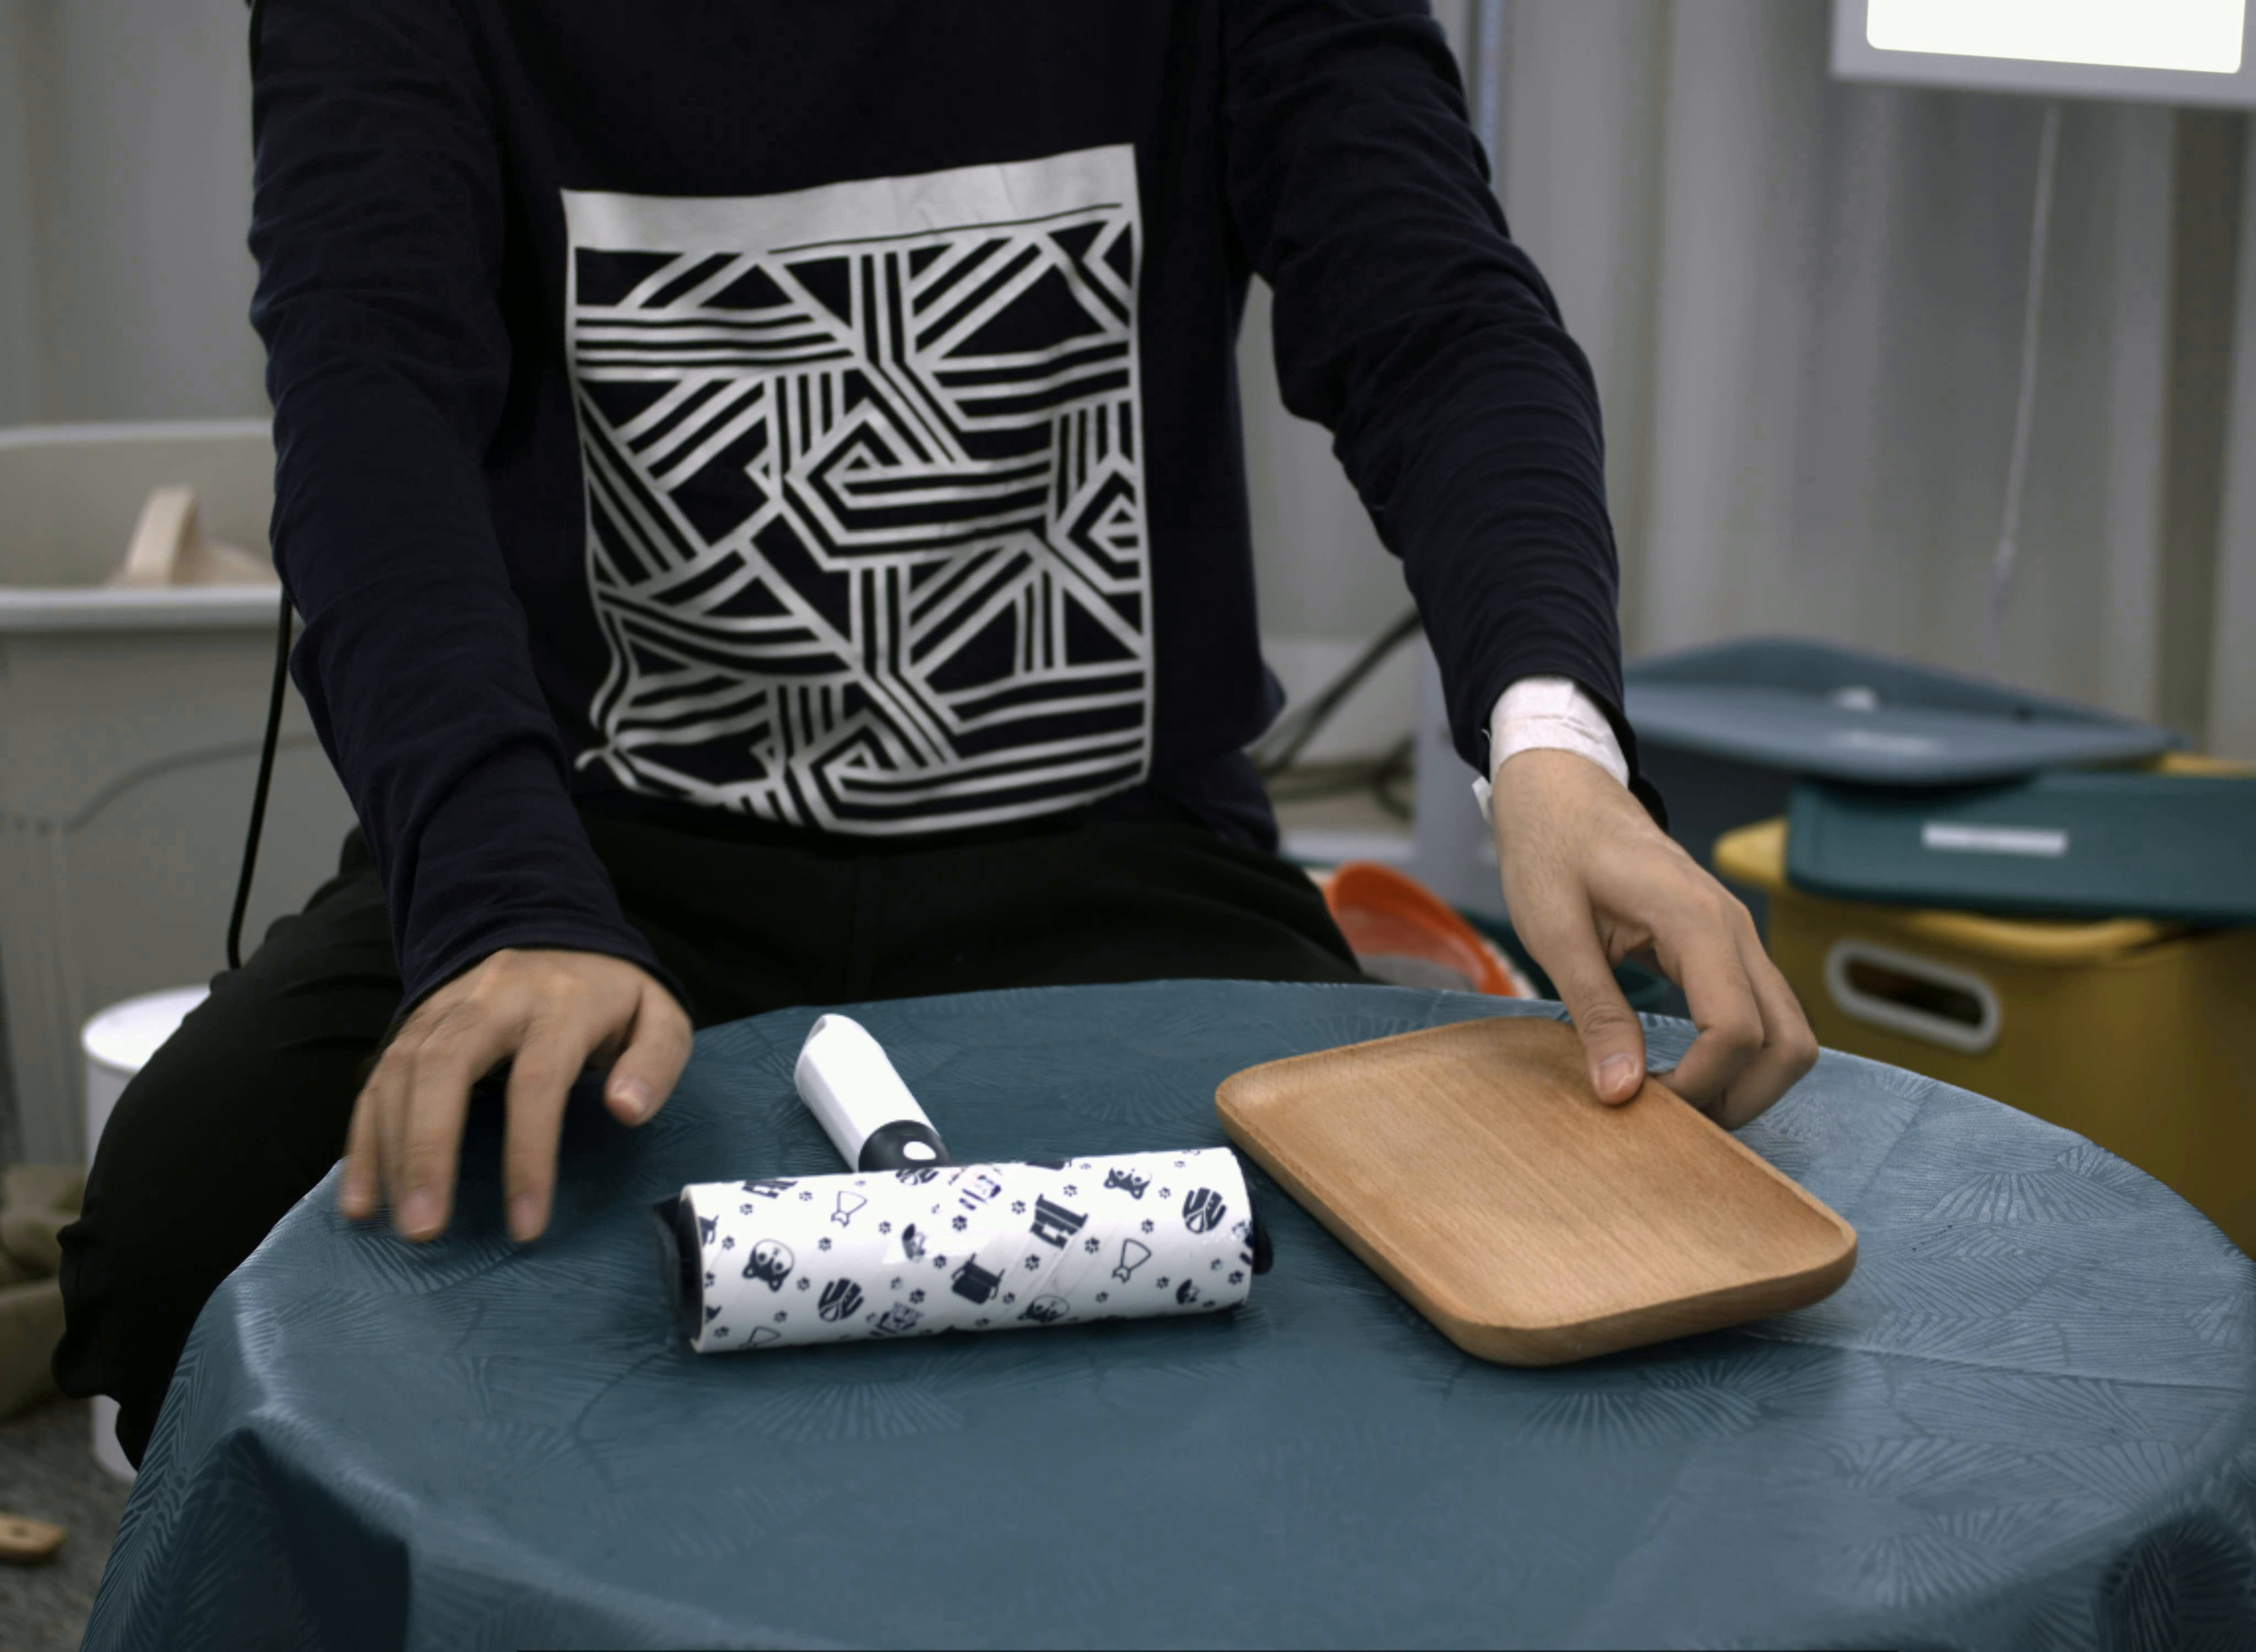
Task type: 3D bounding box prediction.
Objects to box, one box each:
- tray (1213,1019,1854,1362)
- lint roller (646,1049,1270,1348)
[{"bbox_3d":[0.118,0.107,1.598,0.131,0.023,0.248,-7,16,-16],"label":"tray"},{"bbox_3d":[-0.072,0.099,1.598,0.176,0.051,0.245,-4,13,-14],"label":"lint roller"}]
